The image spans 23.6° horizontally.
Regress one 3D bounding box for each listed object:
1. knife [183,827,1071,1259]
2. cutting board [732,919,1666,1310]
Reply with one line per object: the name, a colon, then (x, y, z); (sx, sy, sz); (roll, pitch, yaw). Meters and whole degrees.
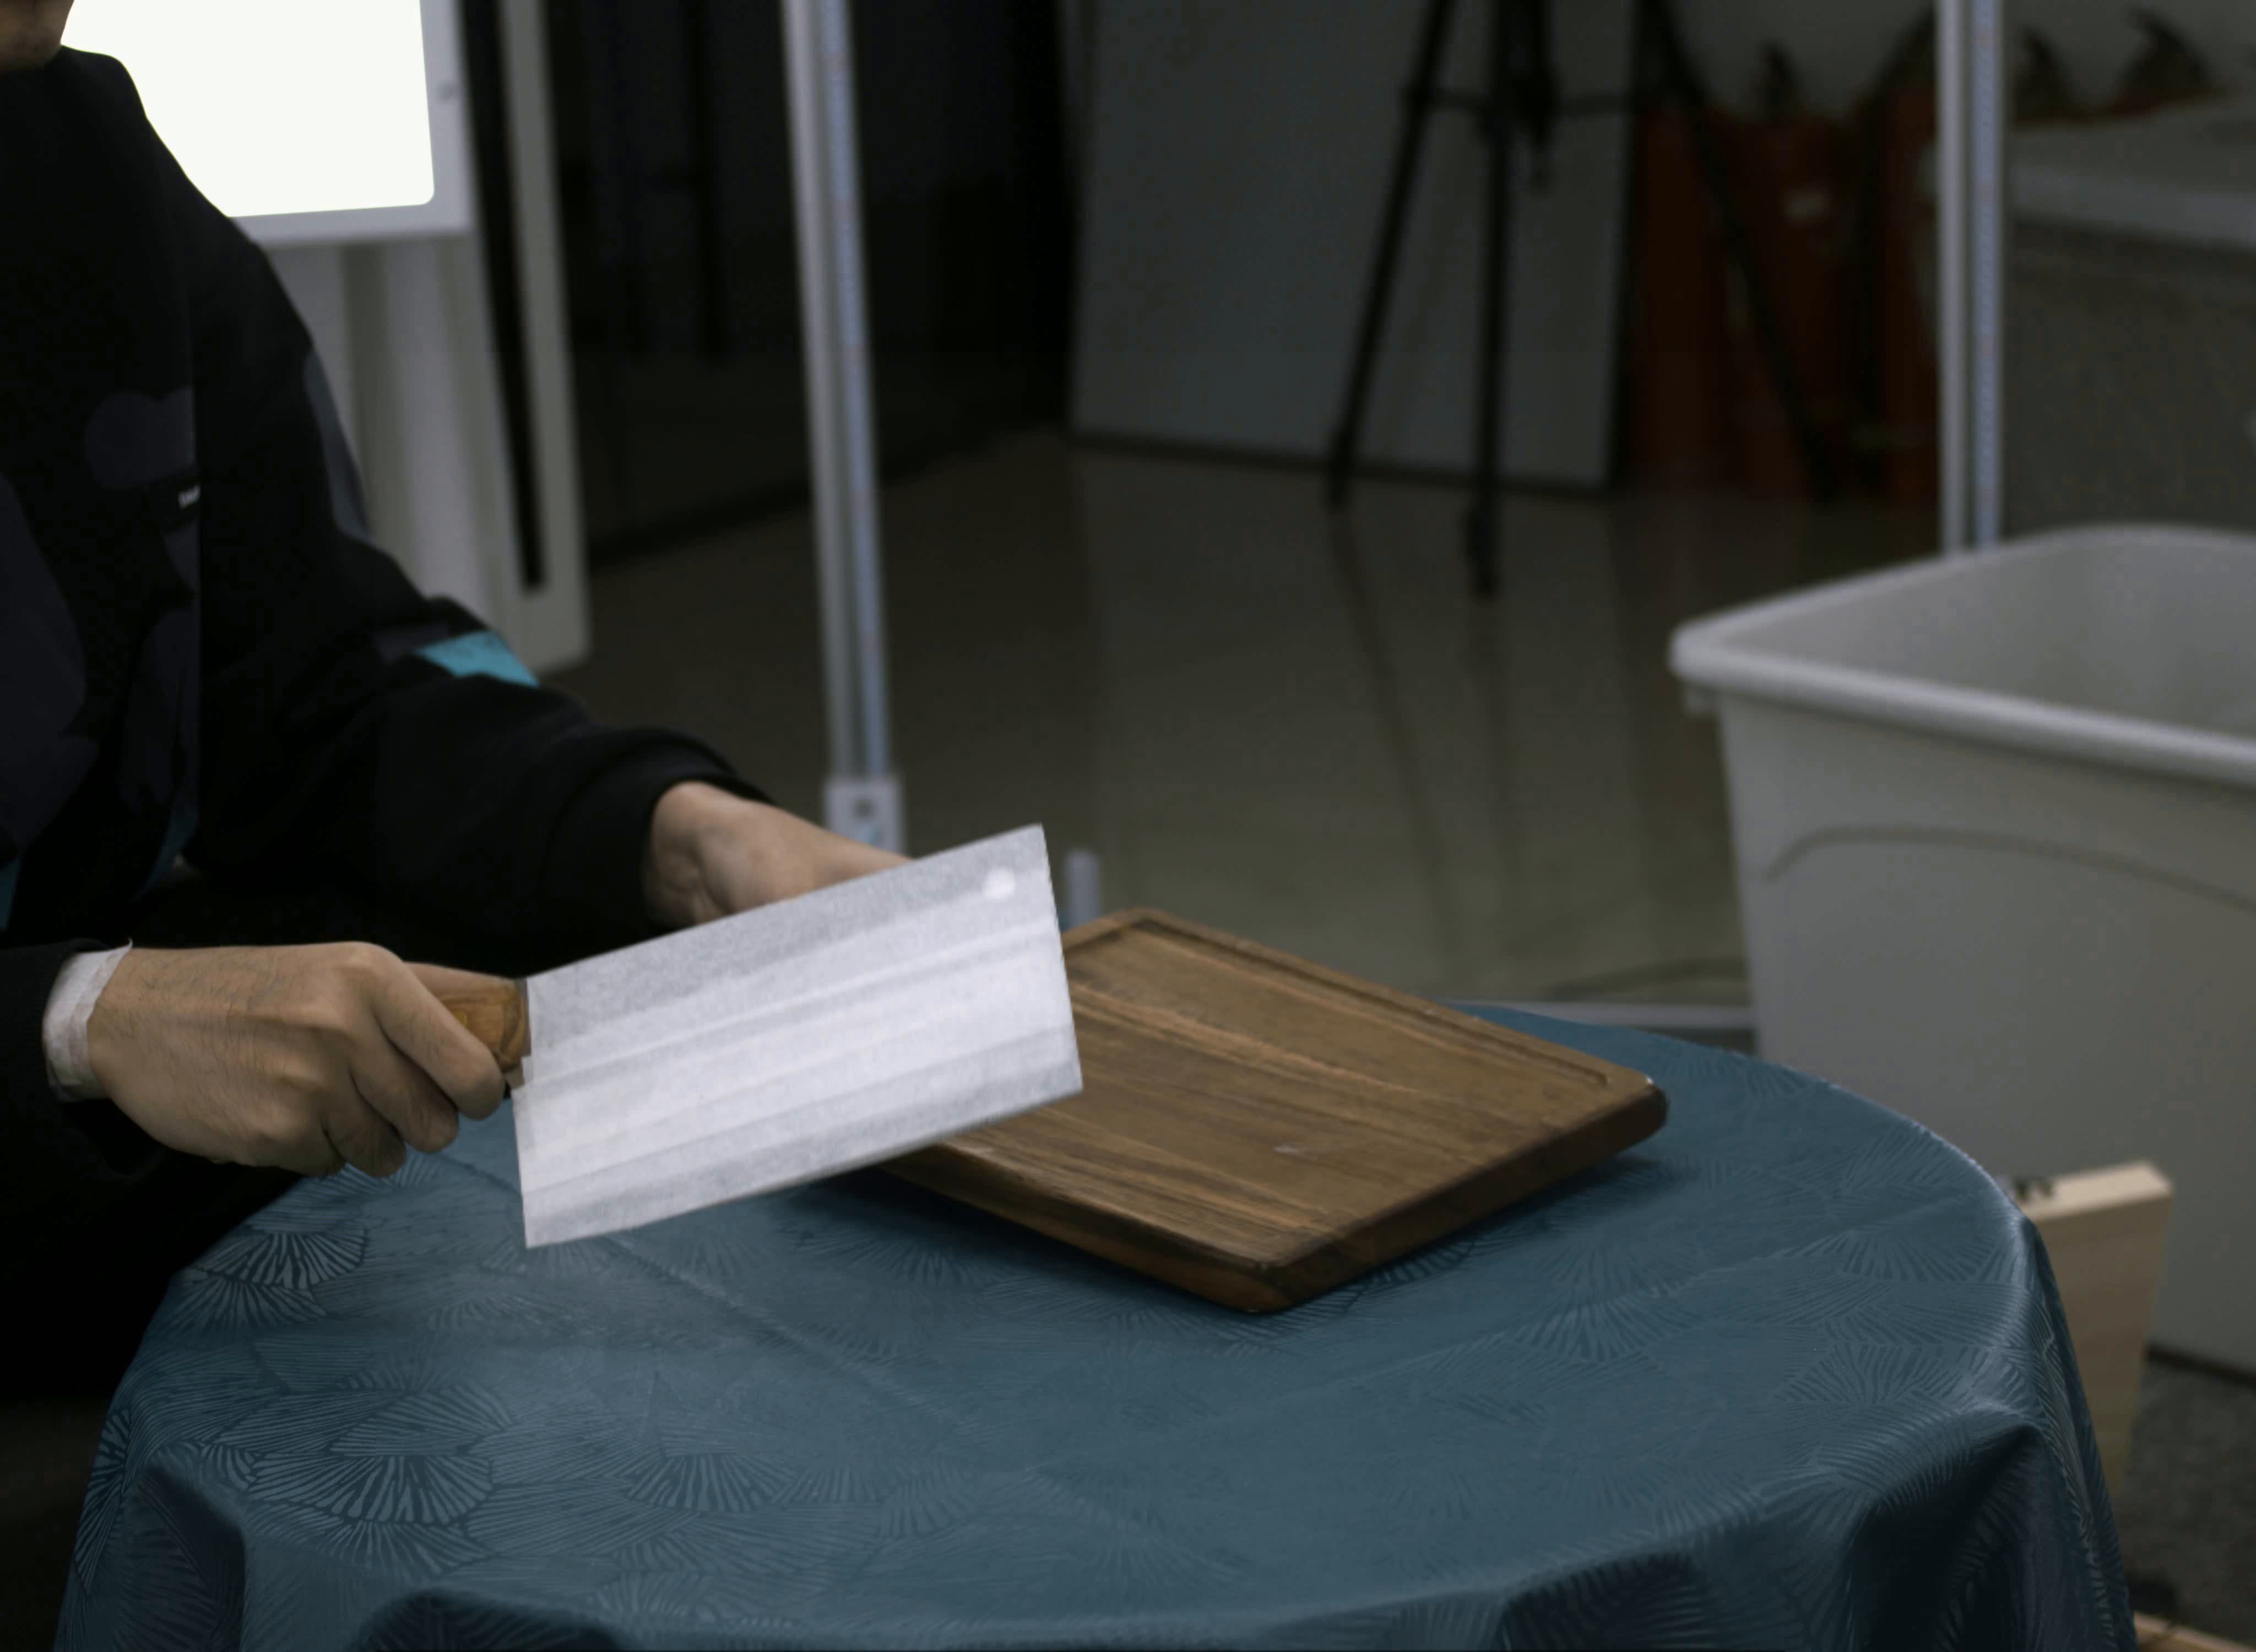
knife: (-0.157, 0.081, 1.666); (0.305, 0.094, 0.021); (-17, -24, 20)
cutting board: (-0.010, 0.080, 1.815); (0.197, 0.023, 0.355); (-20, 25, -41)
